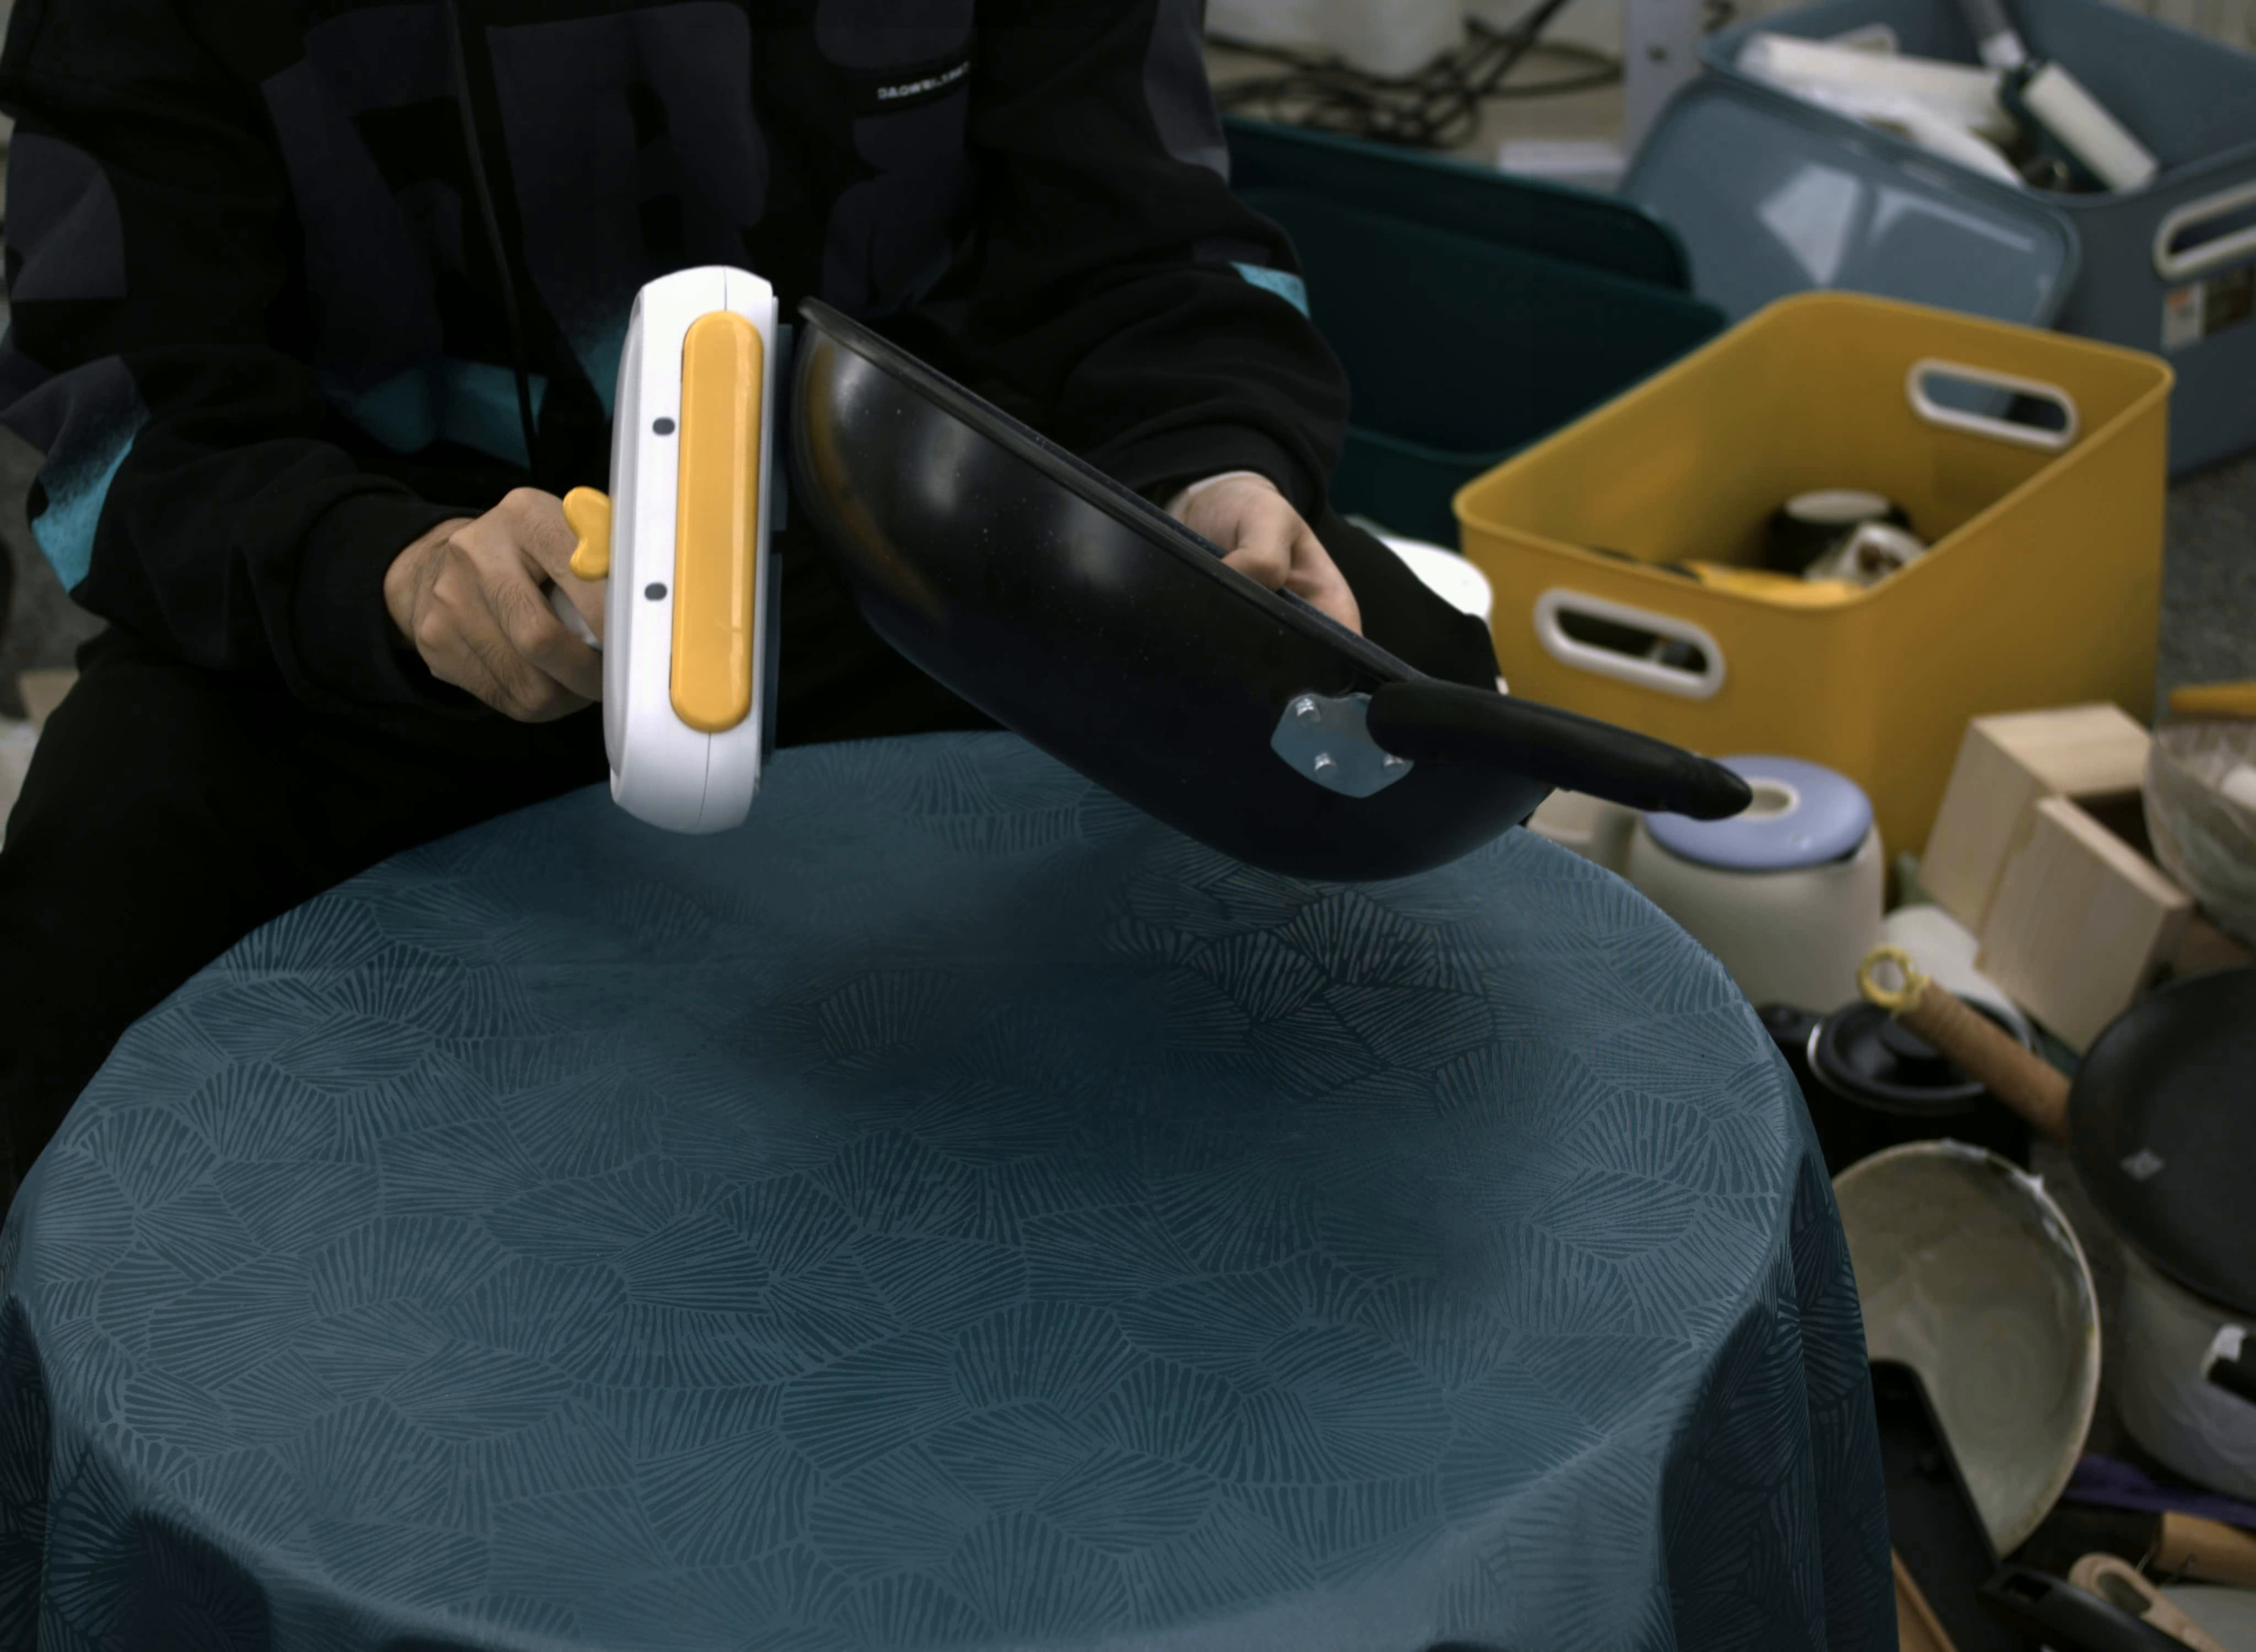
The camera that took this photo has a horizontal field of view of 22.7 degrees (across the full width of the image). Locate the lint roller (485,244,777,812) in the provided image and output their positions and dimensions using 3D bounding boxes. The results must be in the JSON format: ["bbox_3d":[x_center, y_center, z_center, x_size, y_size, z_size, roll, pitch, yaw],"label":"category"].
[{"bbox_3d":[-0.171,-0.082,1.930,0.074,0.195,0.189,2,-19,-20],"label":"lint roller"}]

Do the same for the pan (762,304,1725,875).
[{"bbox_3d":[0.038,-0.047,1.838,0.309,0.111,0.478,27,5,-33],"label":"pan"}]
